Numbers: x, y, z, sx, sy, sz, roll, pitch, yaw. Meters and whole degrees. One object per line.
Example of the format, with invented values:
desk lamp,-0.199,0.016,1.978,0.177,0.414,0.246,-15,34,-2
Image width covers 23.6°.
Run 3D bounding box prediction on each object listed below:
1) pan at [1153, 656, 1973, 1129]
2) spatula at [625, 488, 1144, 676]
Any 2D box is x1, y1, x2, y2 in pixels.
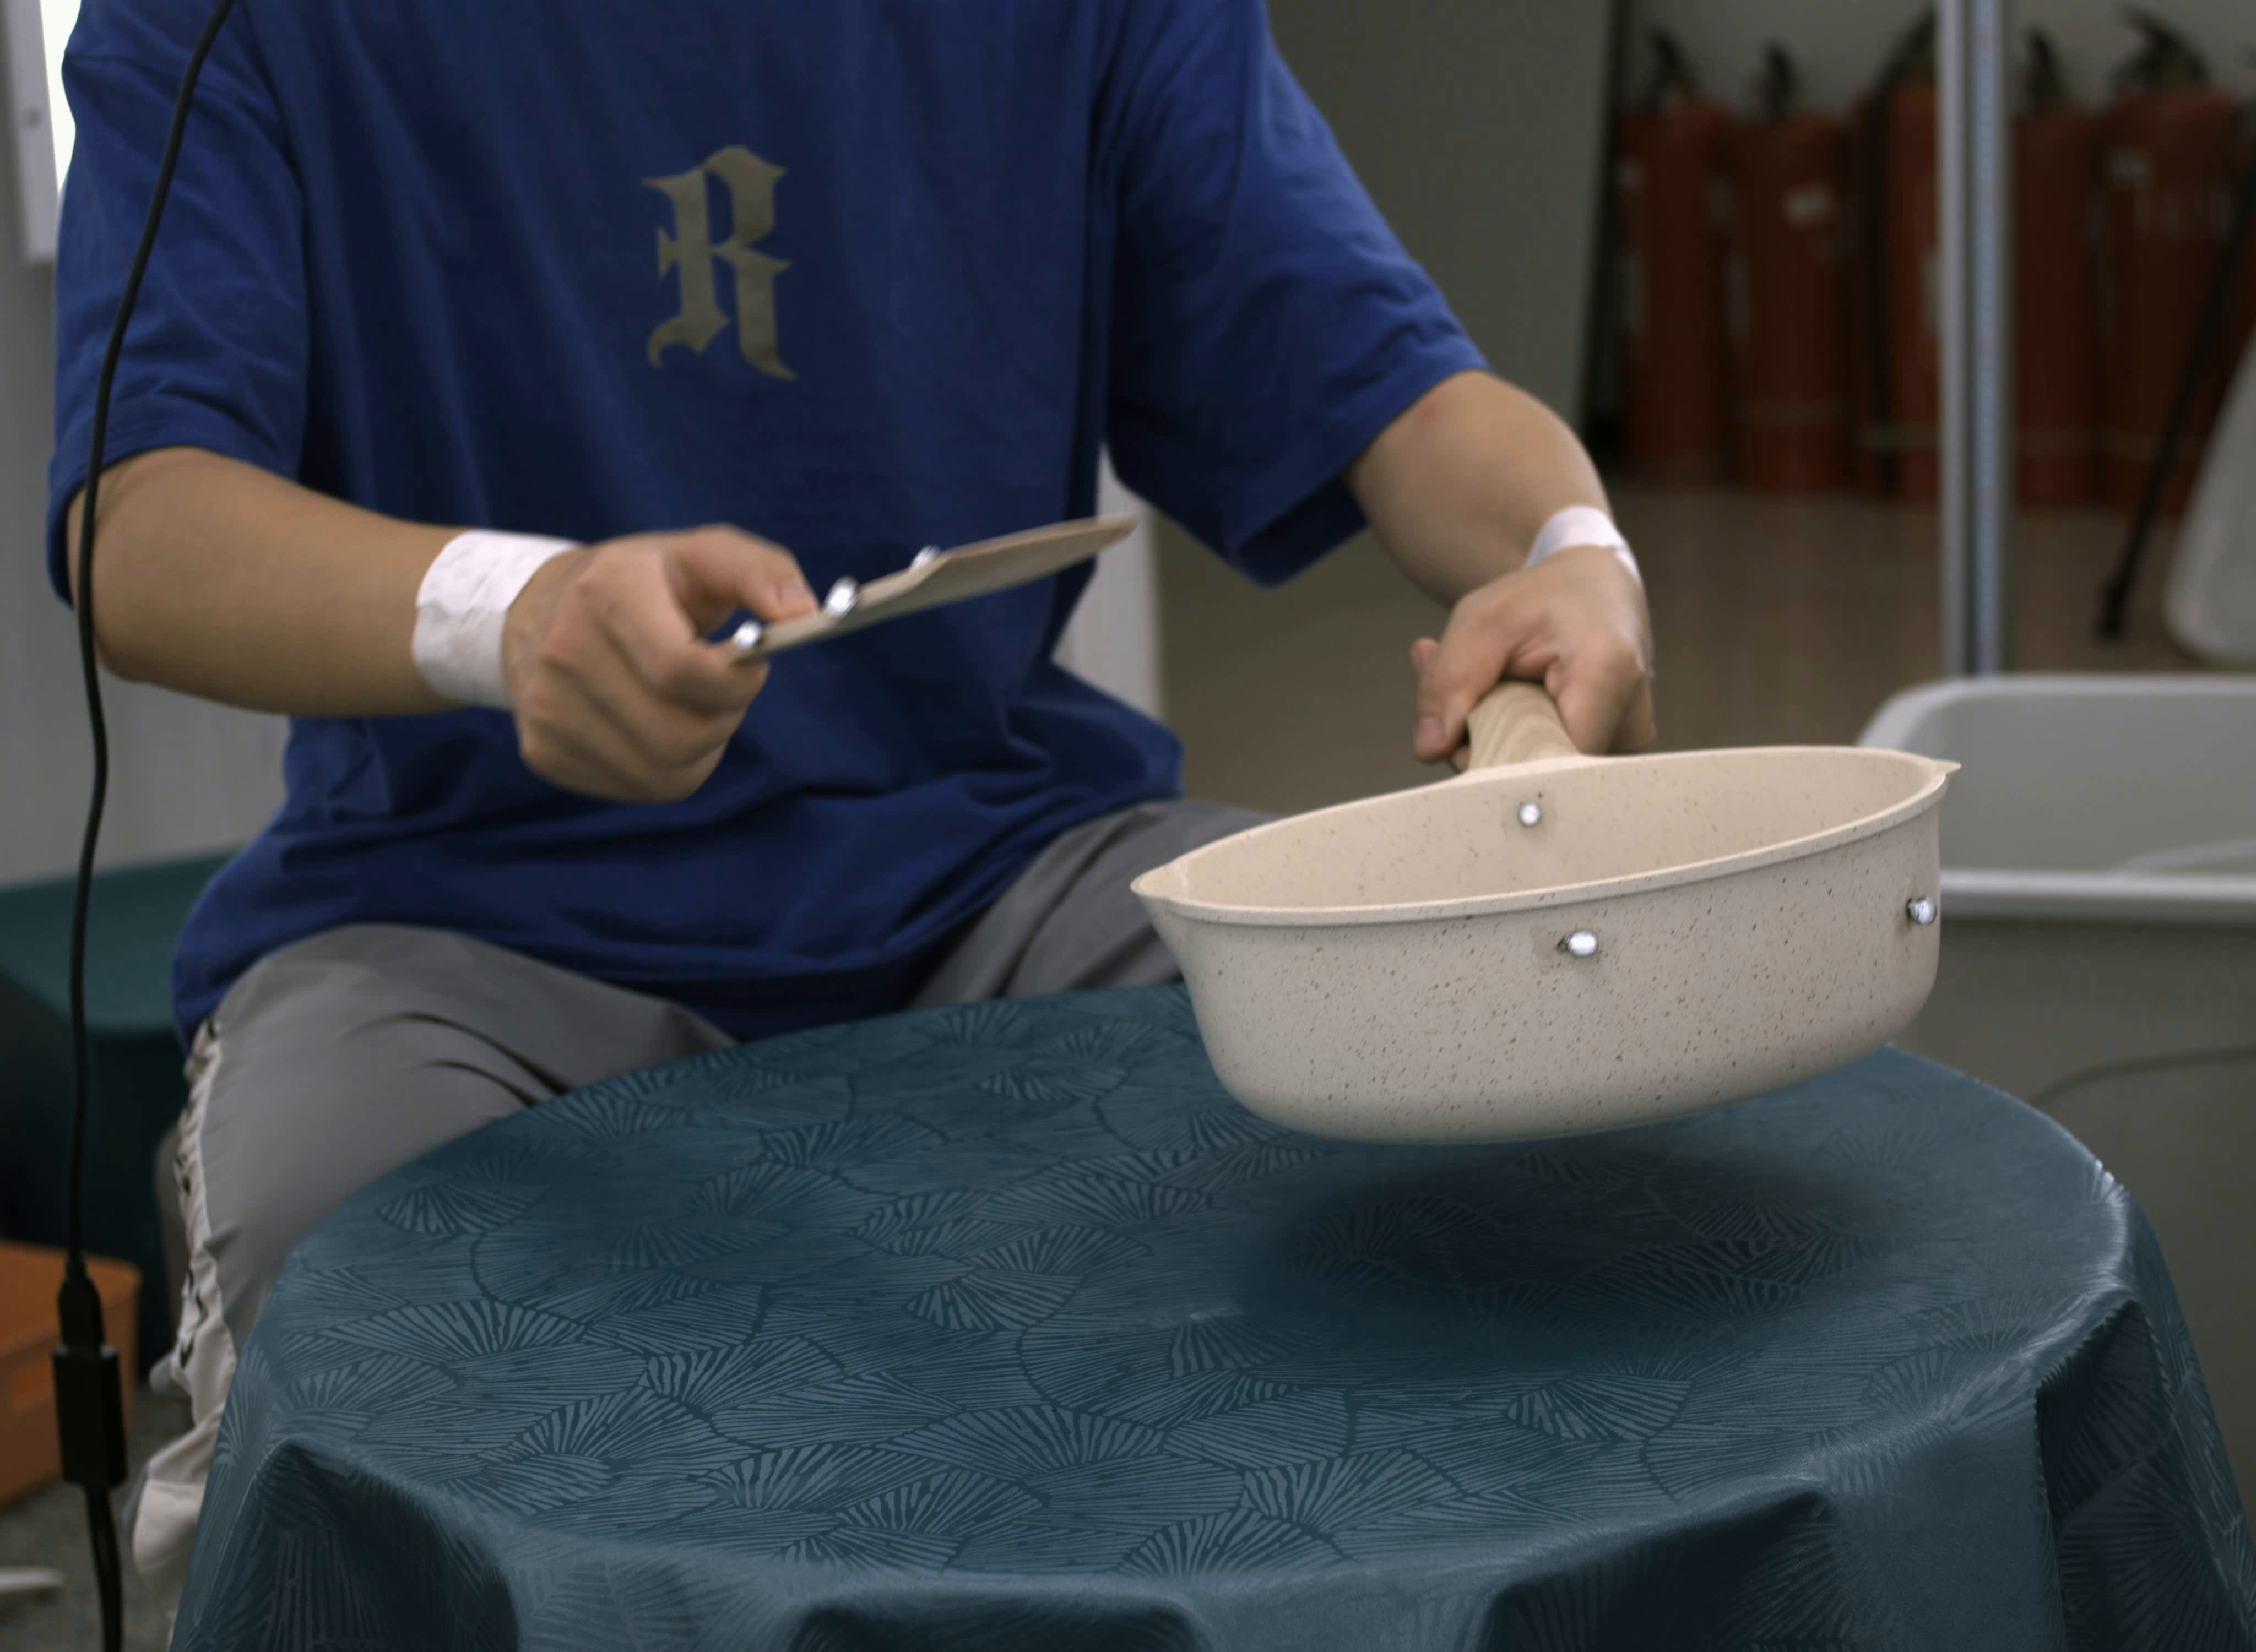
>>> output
pan,0.140,0.014,1.771,0.260,0.103,0.435,-11,7,1
spatula,-0.092,-0.073,1.717,0.071,0.011,0.296,-14,0,-30
